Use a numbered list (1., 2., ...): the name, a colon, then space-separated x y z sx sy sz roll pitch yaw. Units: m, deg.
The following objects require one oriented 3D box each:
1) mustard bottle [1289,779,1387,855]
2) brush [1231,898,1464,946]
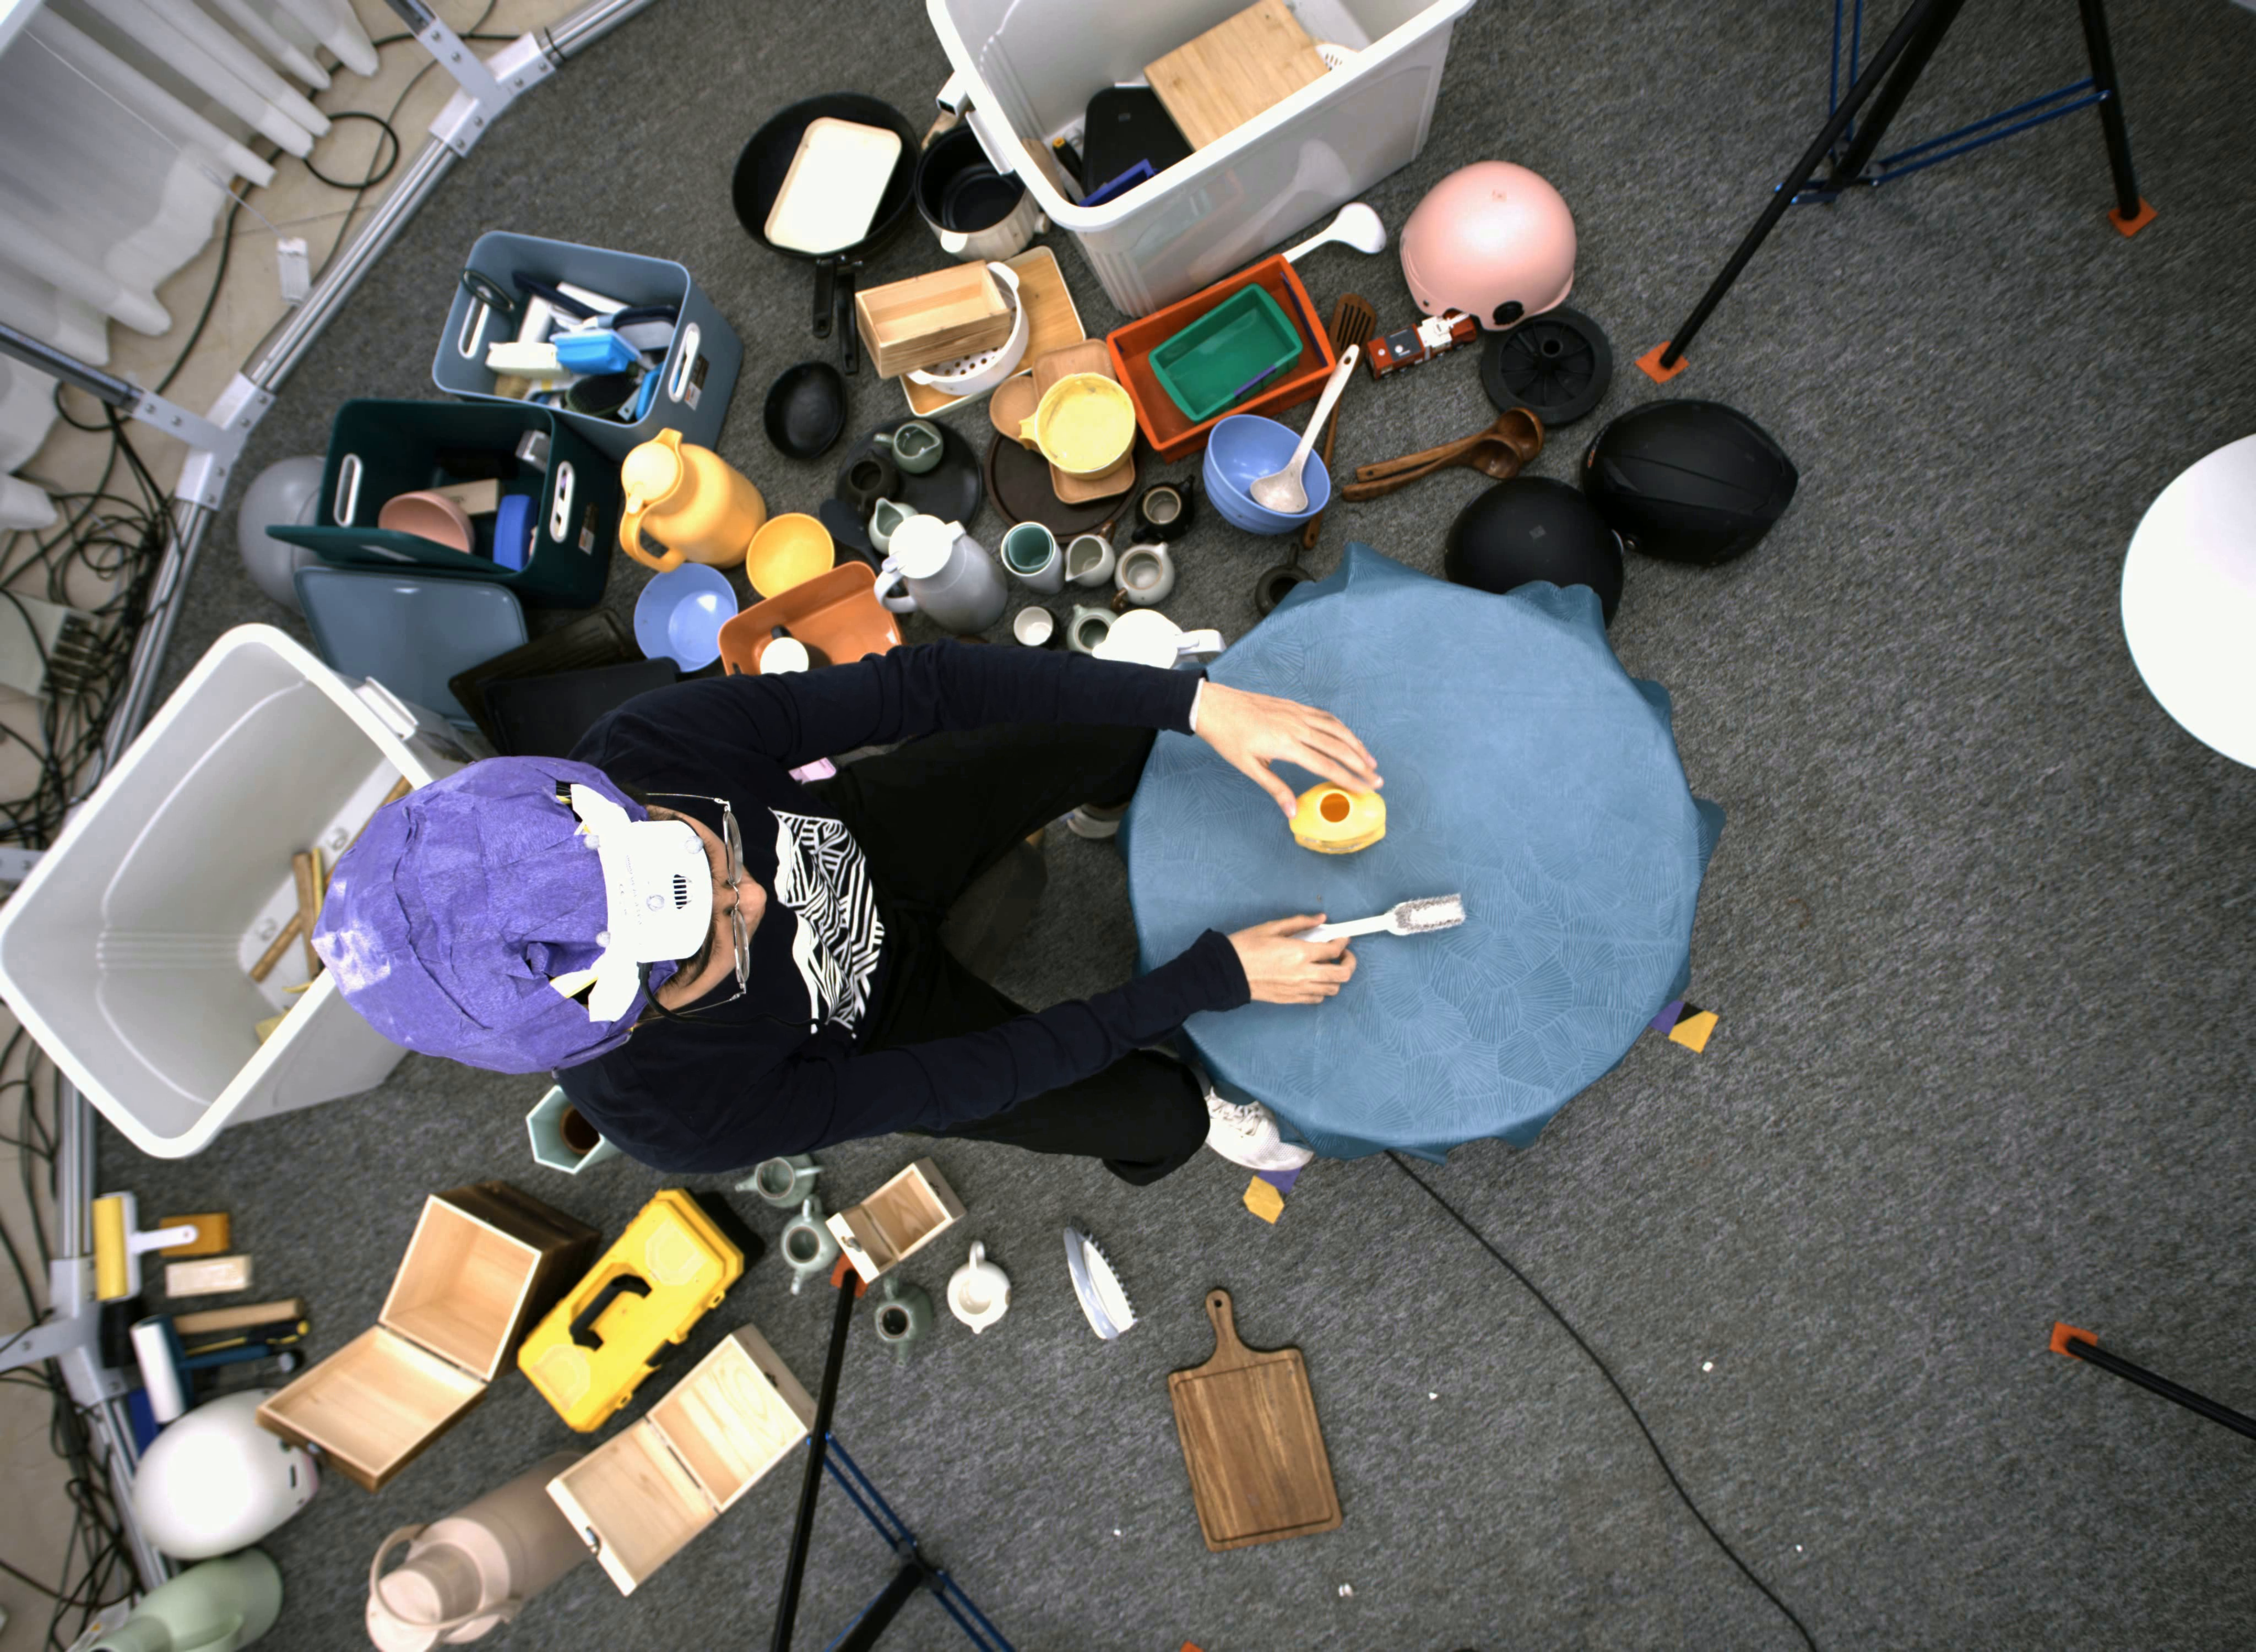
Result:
1. mustard bottle: 0.210 -0.009 1.387 0.099 0.172 0.059 -9 81 11
2. brush: 0.226 0.102 1.441 0.245 0.050 0.034 -7 89 10
